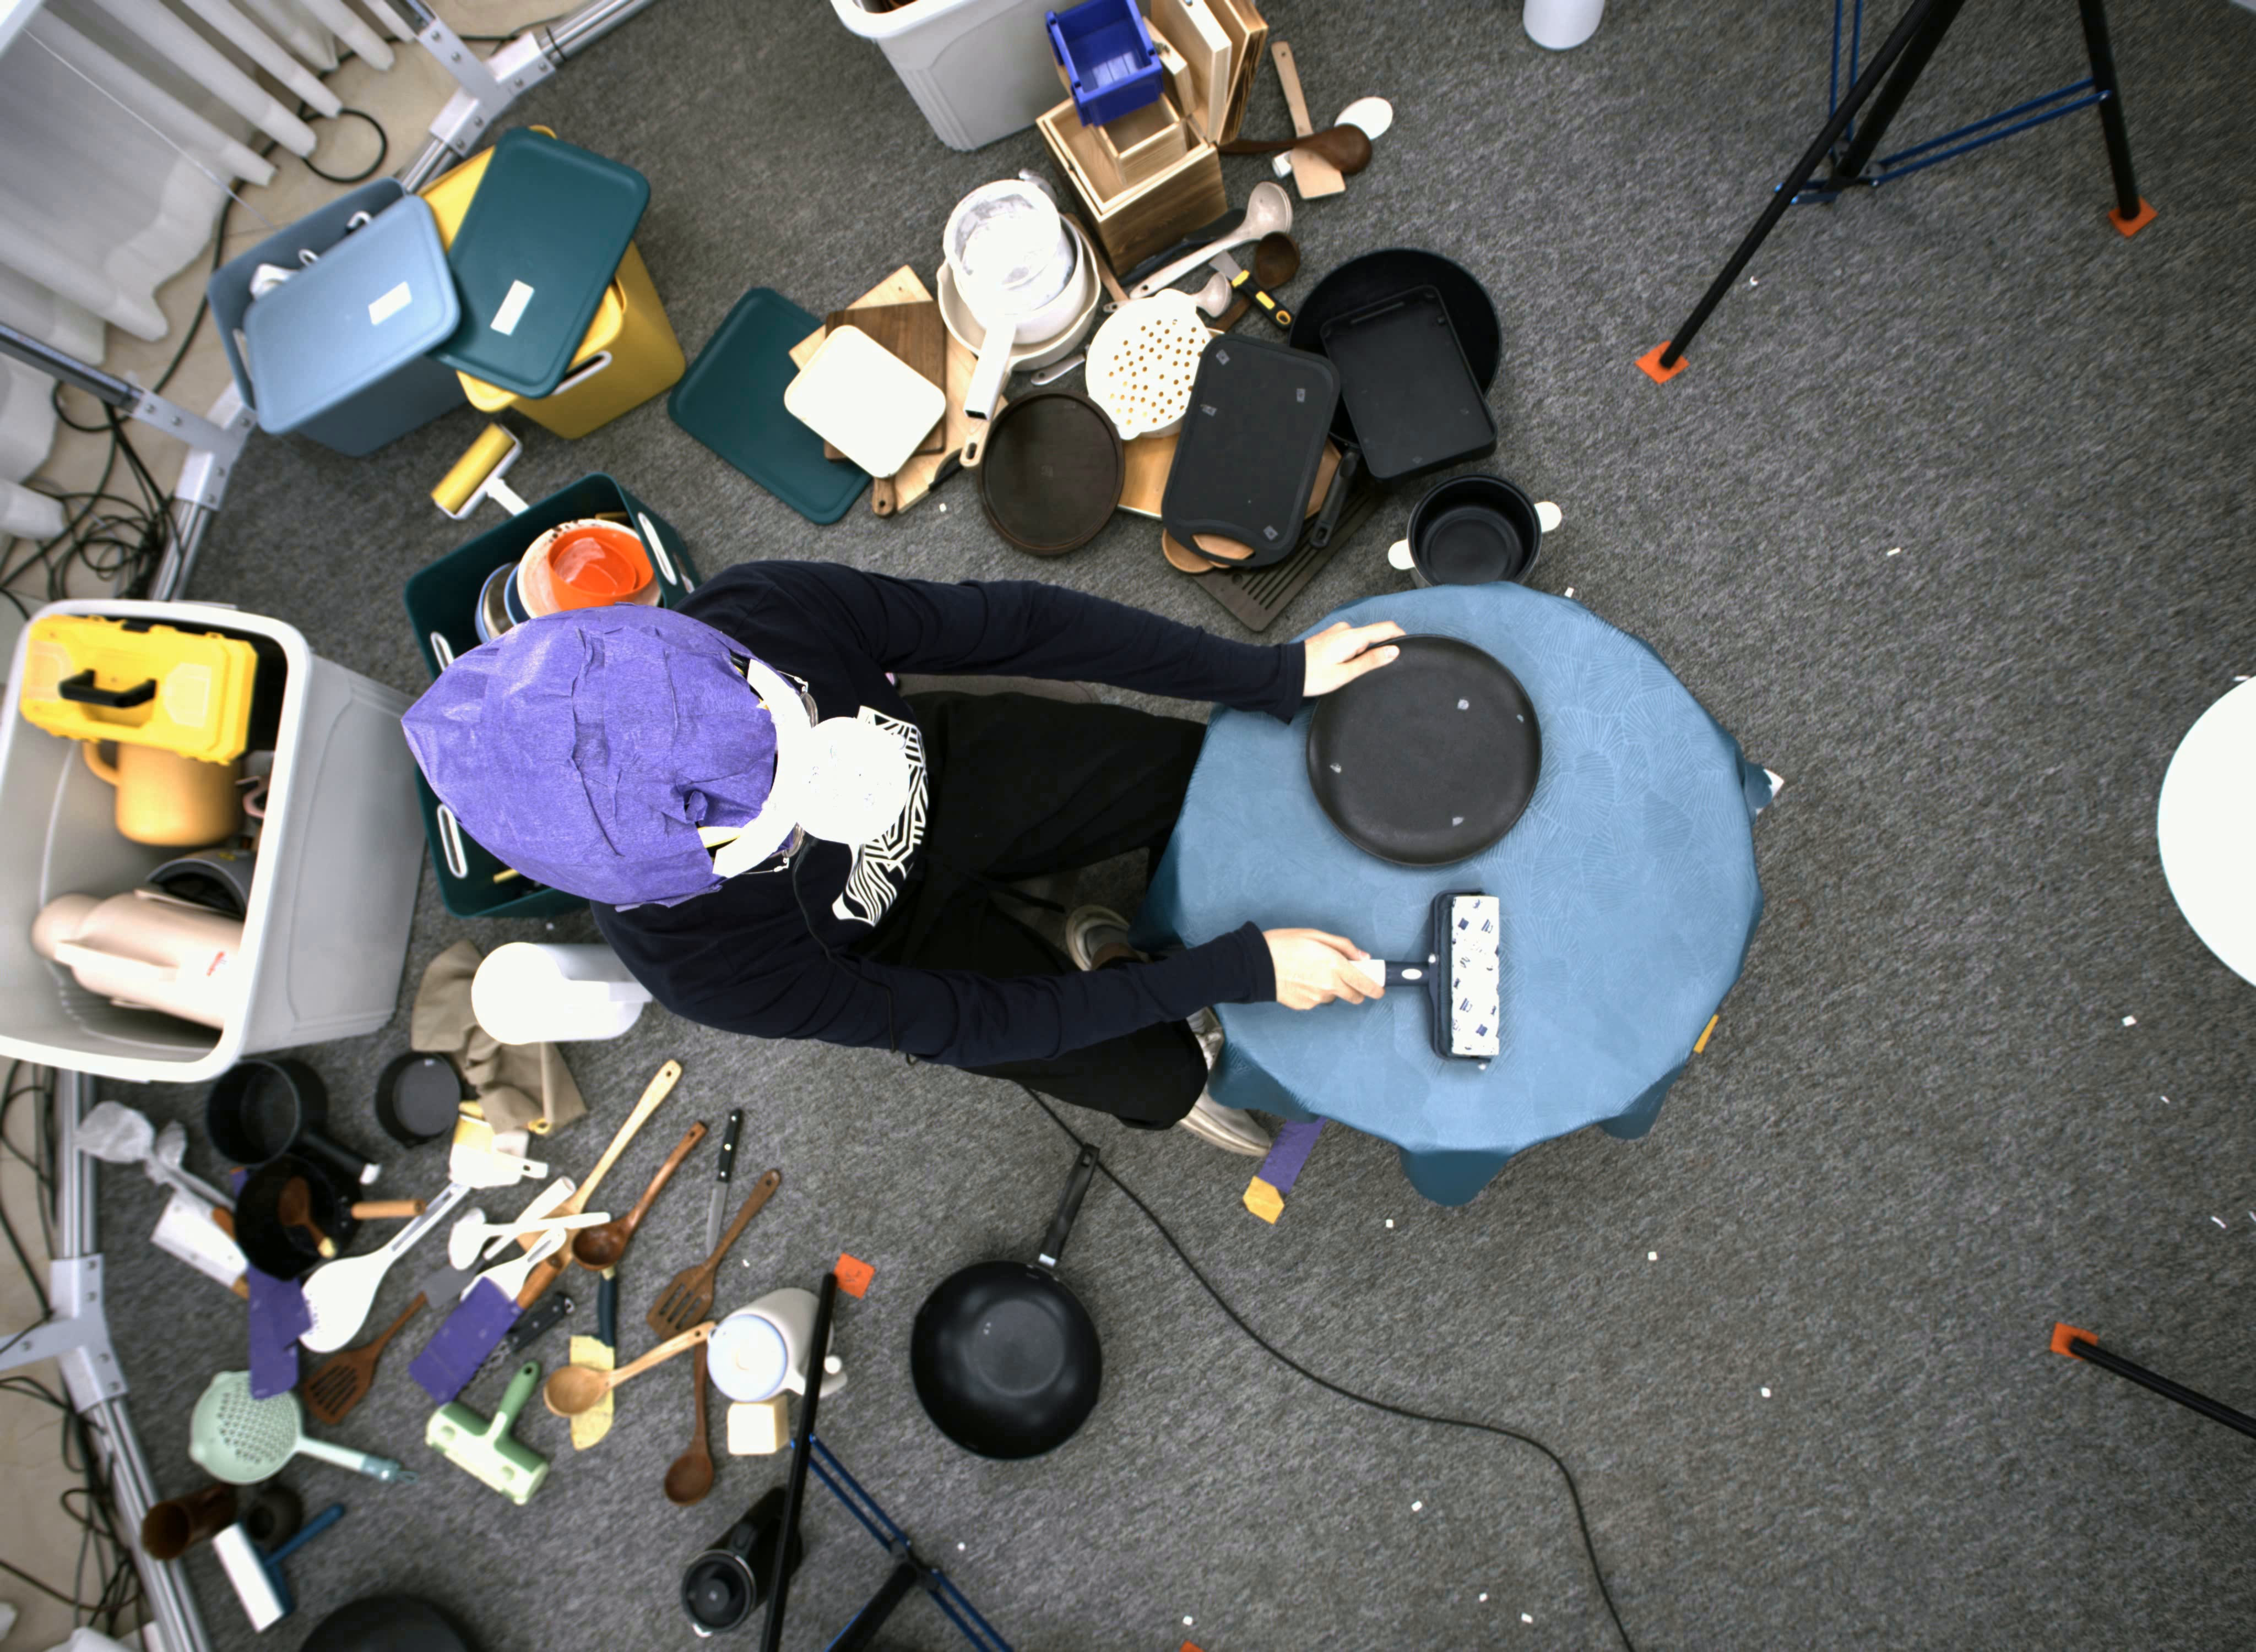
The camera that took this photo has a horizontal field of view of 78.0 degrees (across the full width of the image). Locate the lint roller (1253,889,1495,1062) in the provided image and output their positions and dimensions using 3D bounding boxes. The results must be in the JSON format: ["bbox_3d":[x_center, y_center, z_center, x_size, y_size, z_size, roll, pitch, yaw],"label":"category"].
[{"bbox_3d":[0.253,0.150,1.423,0.248,0.050,0.175,1,87,6],"label":"lint roller"}]

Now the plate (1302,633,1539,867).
[{"bbox_3d":[0.305,-0.081,1.439,0.245,0.023,0.245,0,94,9],"label":"plate"}]
